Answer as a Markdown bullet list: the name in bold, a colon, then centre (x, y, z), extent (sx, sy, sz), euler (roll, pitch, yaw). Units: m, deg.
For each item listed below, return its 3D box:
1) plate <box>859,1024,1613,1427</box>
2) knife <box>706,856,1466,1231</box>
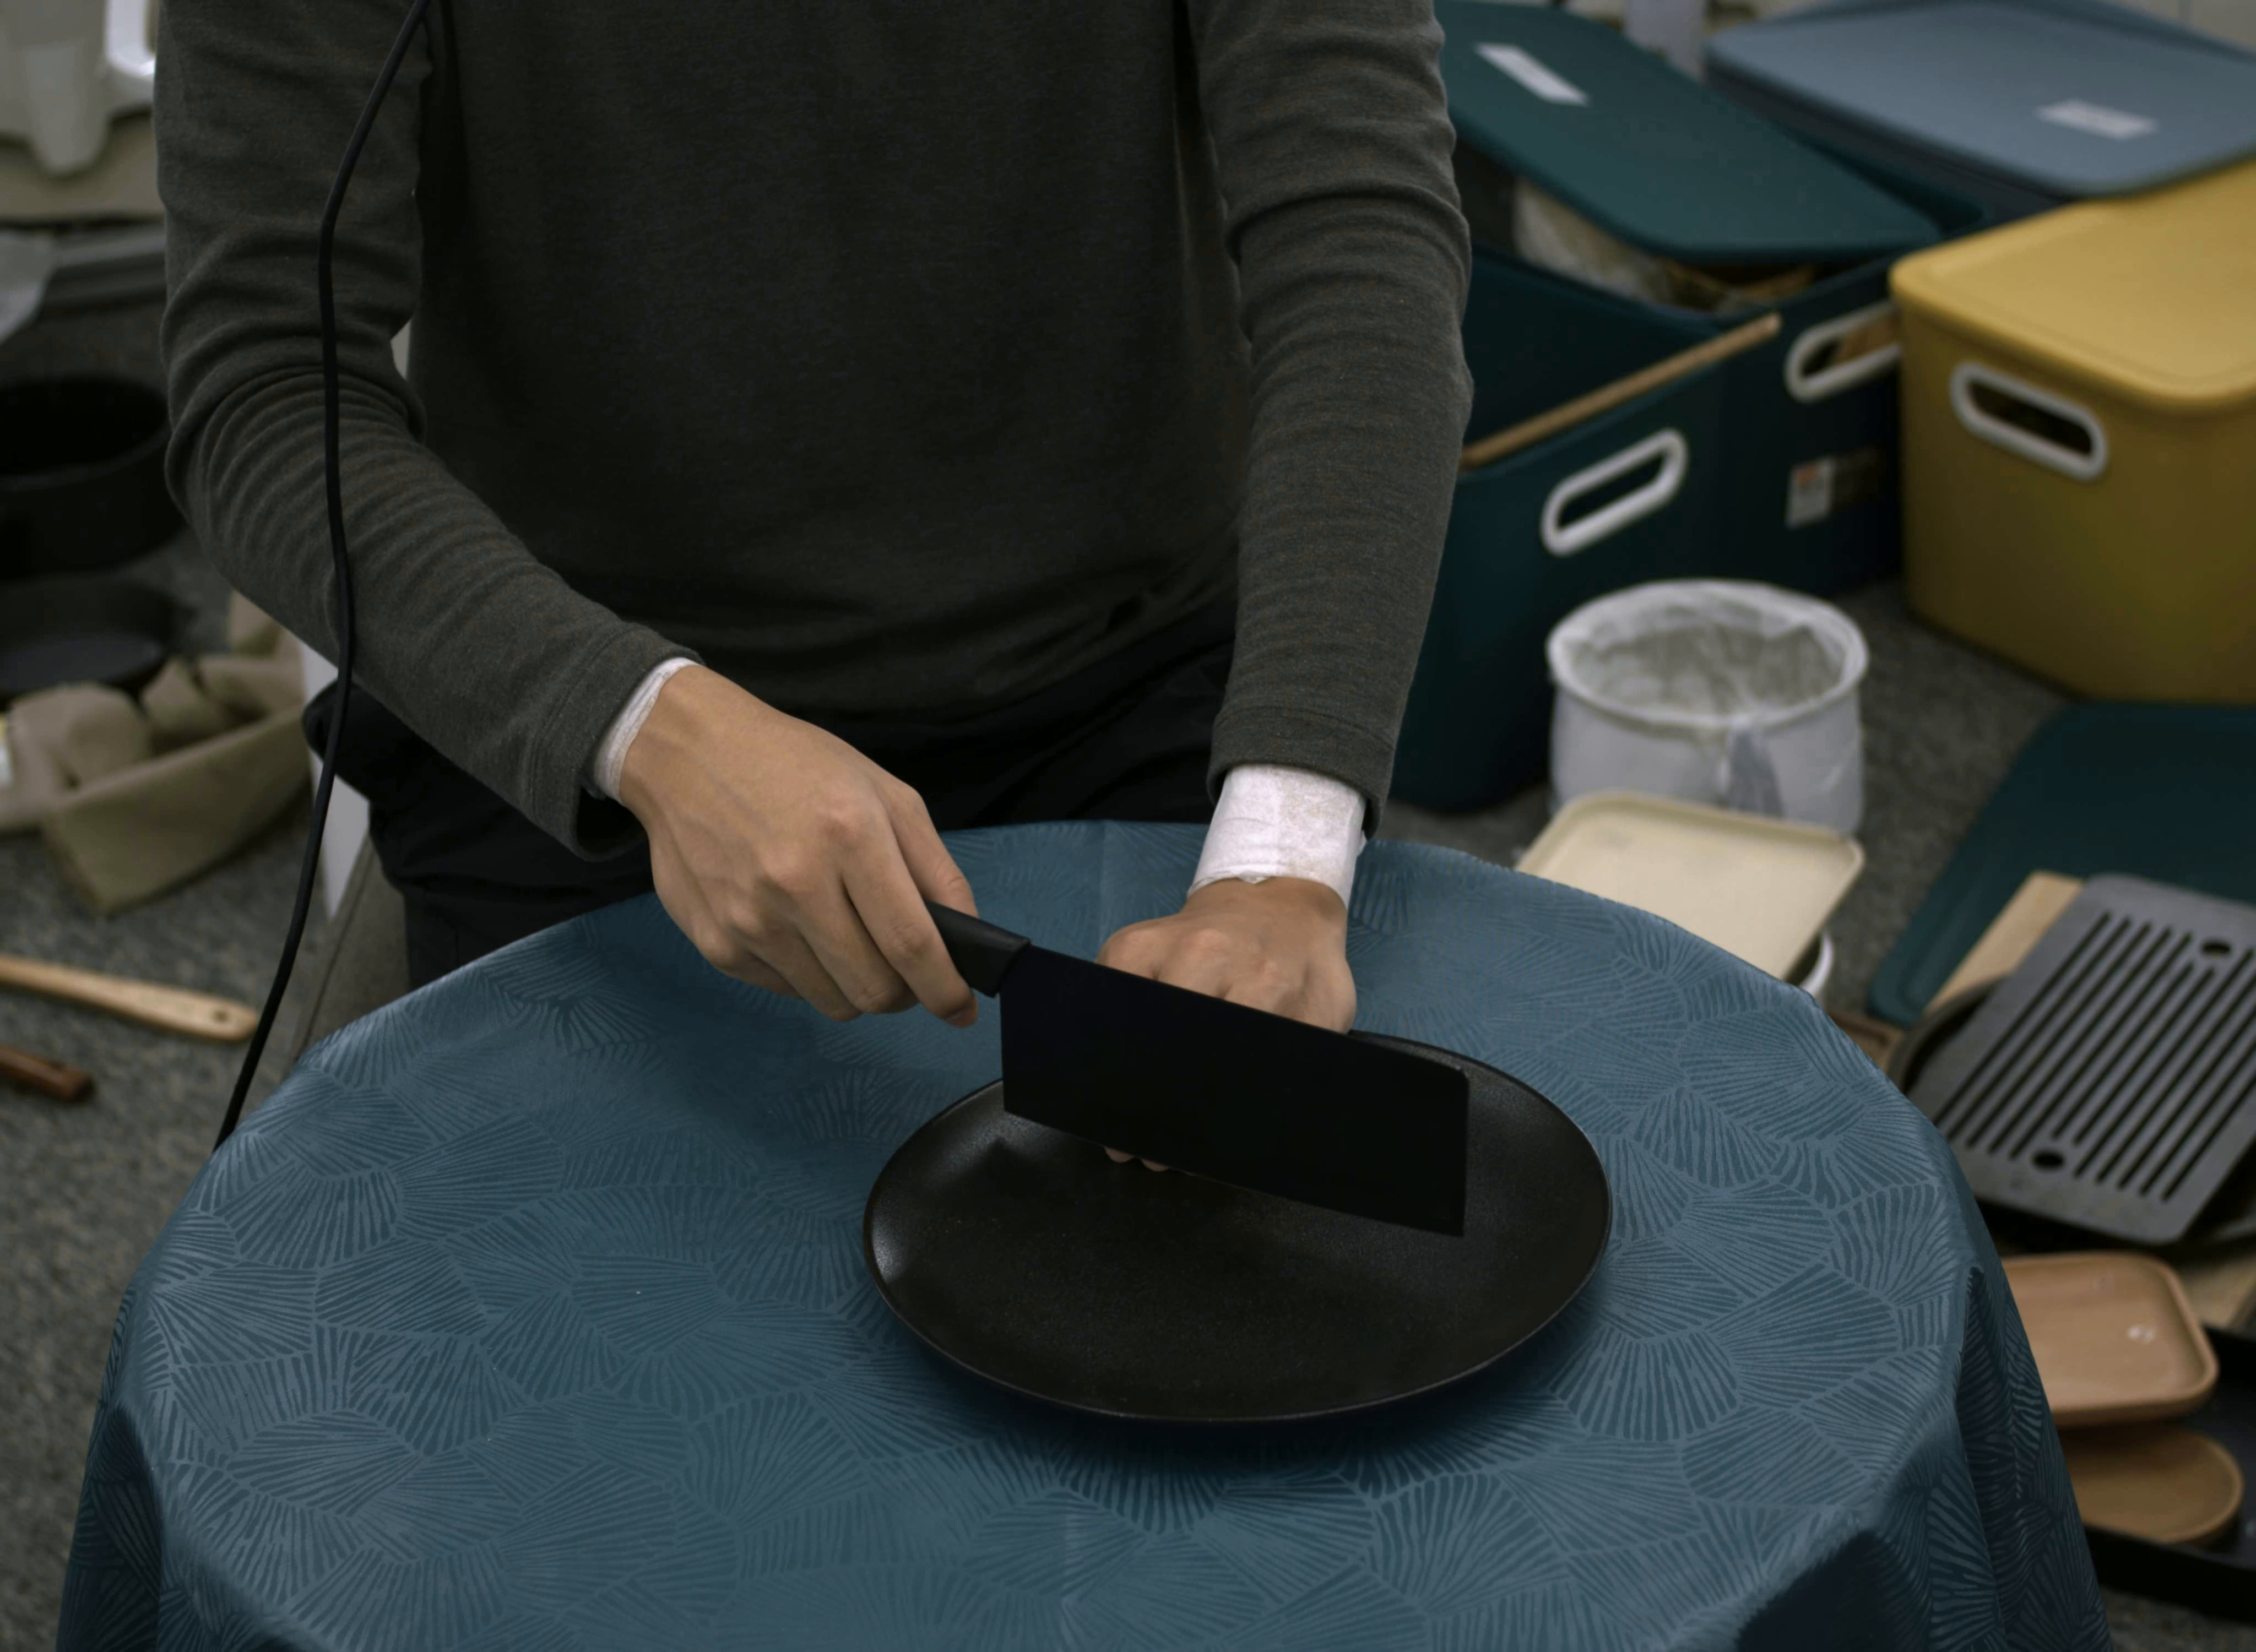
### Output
- **plate**: centre (0.035, 0.133, 1.812), extent (0.243, 0.023, 0.248), euler (-2, 27, 1)
- **knife**: centre (-0.017, 0.067, 1.843), extent (0.301, 0.080, 0.021), euler (19, 28, 30)
